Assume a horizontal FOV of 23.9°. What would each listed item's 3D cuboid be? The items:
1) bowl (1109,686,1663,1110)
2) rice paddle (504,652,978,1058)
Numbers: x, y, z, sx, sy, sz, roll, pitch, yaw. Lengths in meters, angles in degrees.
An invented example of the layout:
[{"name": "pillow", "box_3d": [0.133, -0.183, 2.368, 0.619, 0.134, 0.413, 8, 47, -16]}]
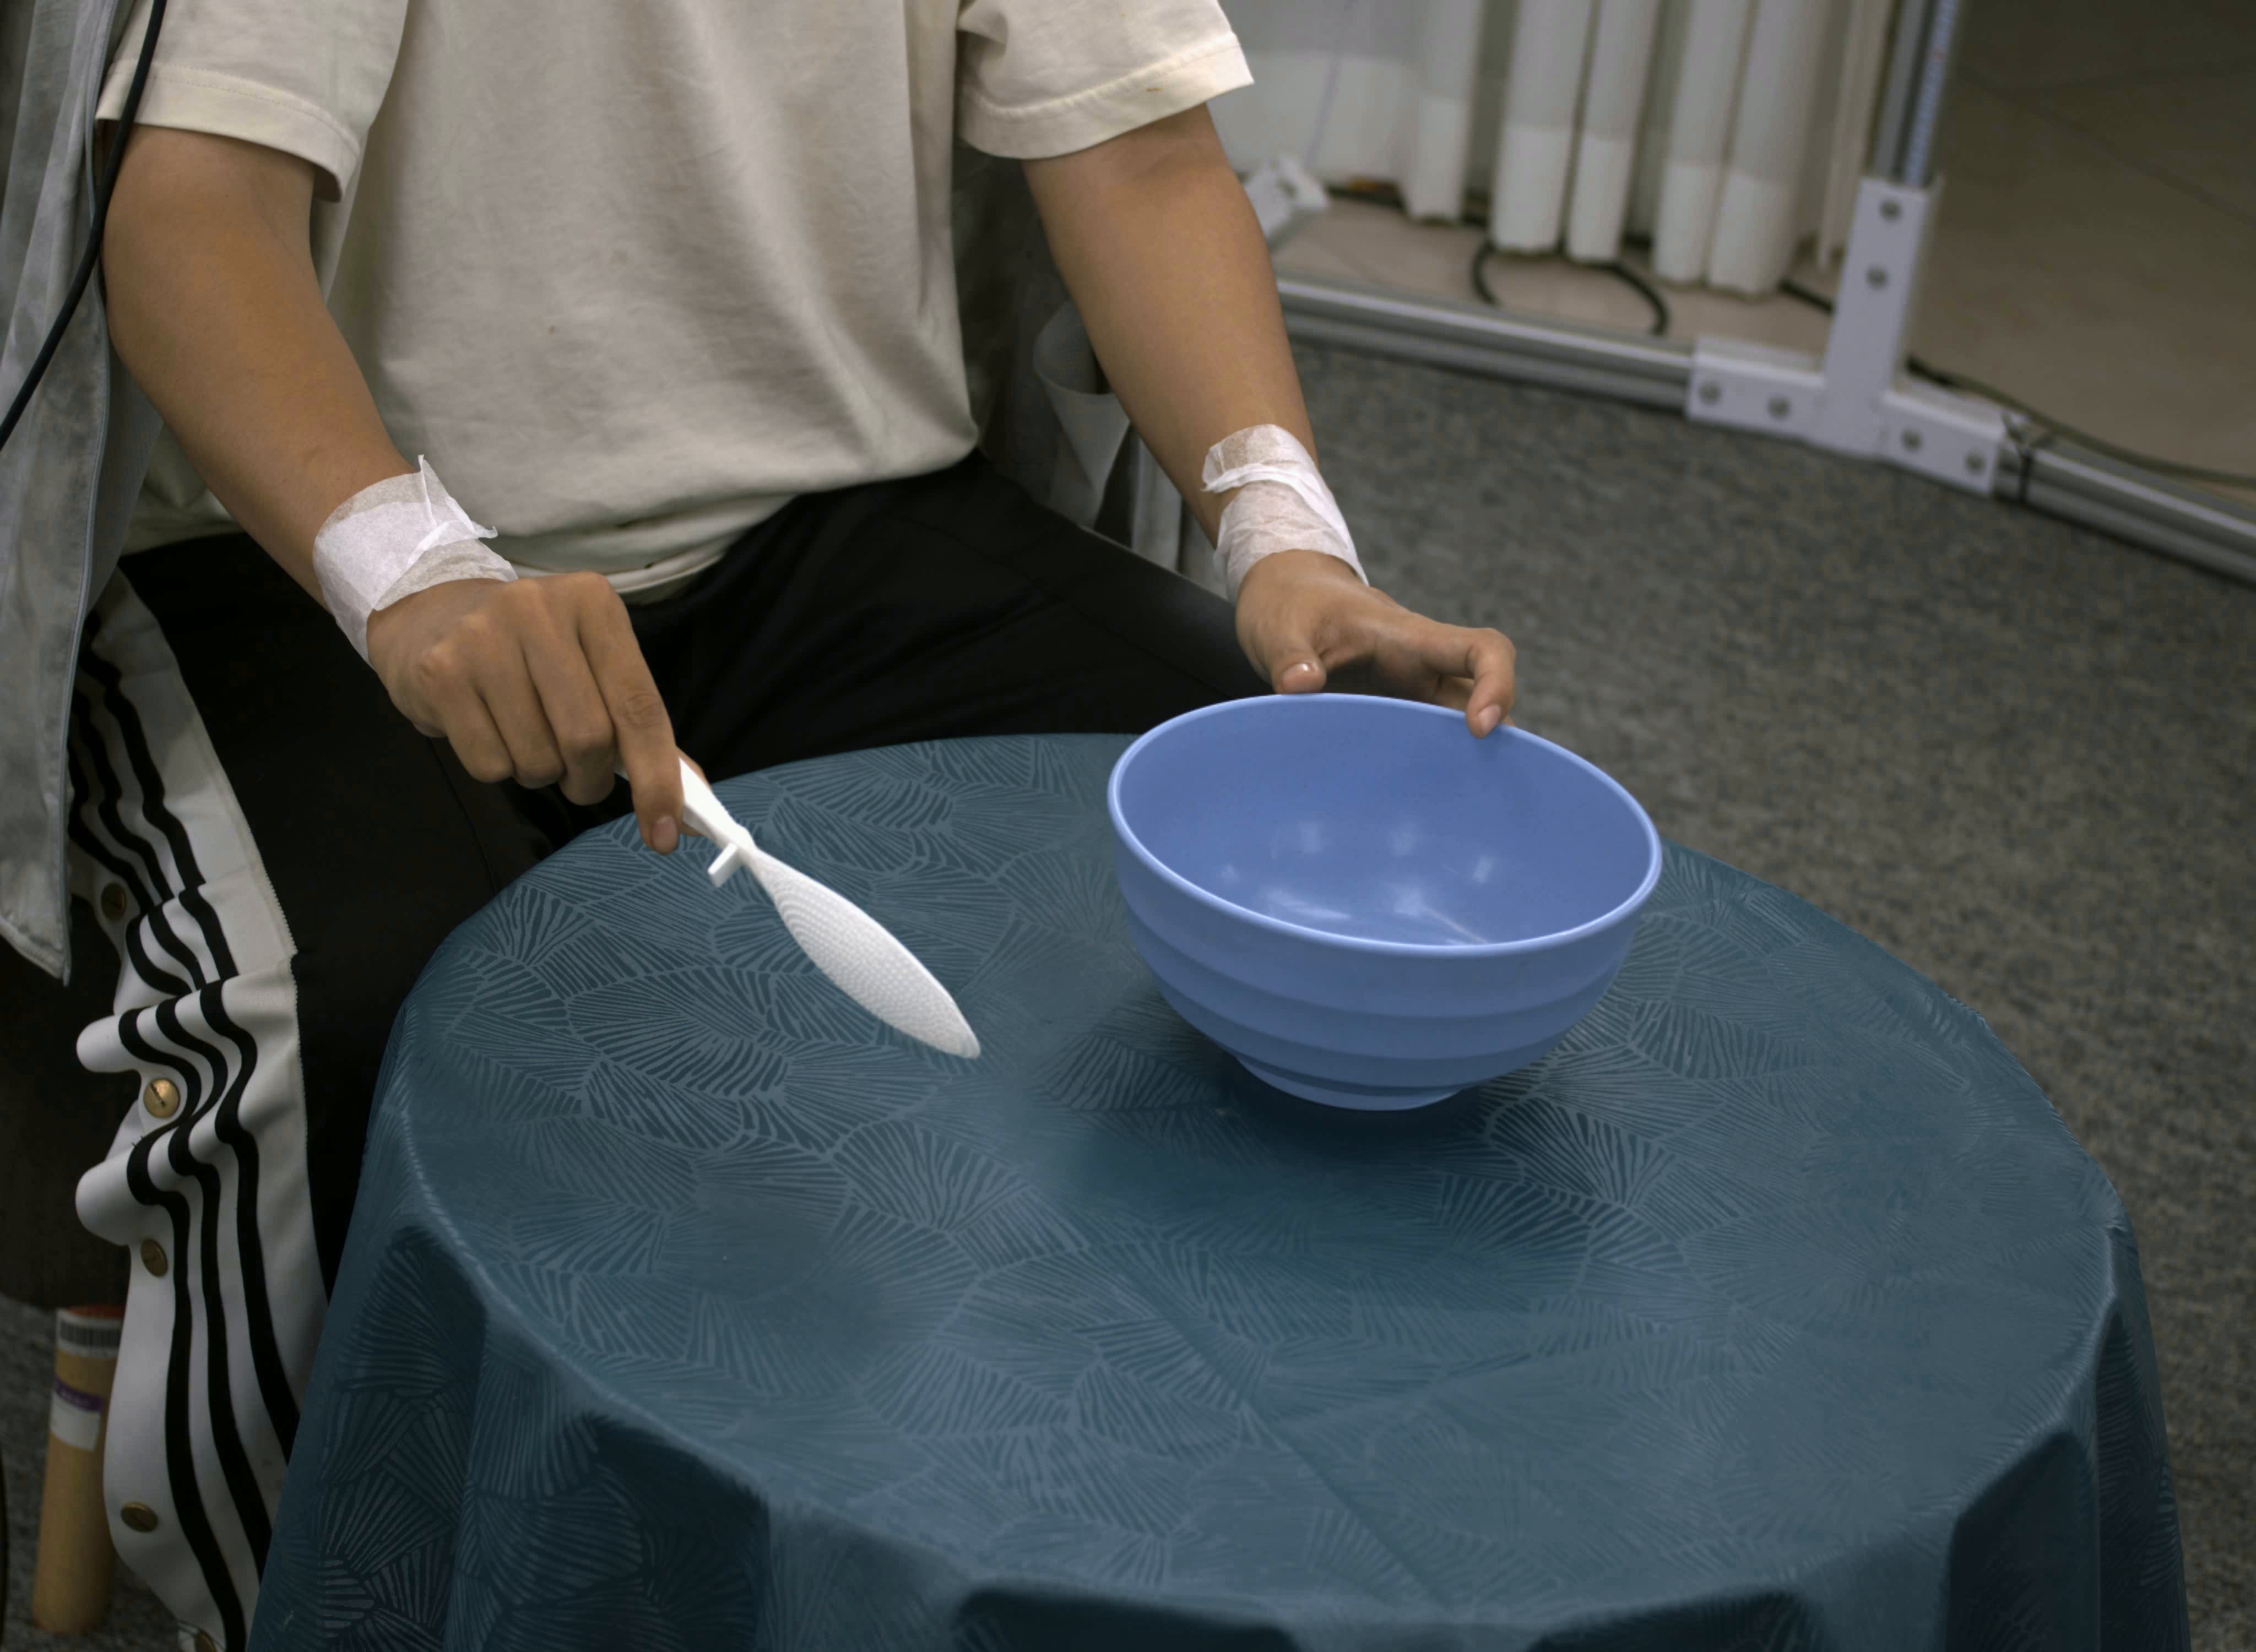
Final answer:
[{"name": "bowl", "box_3d": [0.086, 0.037, 1.889, 0.196, 0.095, 0.198, 5, 29, -3]}, {"name": "rice paddle", "box_3d": [-0.123, 0.012, 1.758, 0.206, 0.068, 0.029, 37, 74, 20]}]
